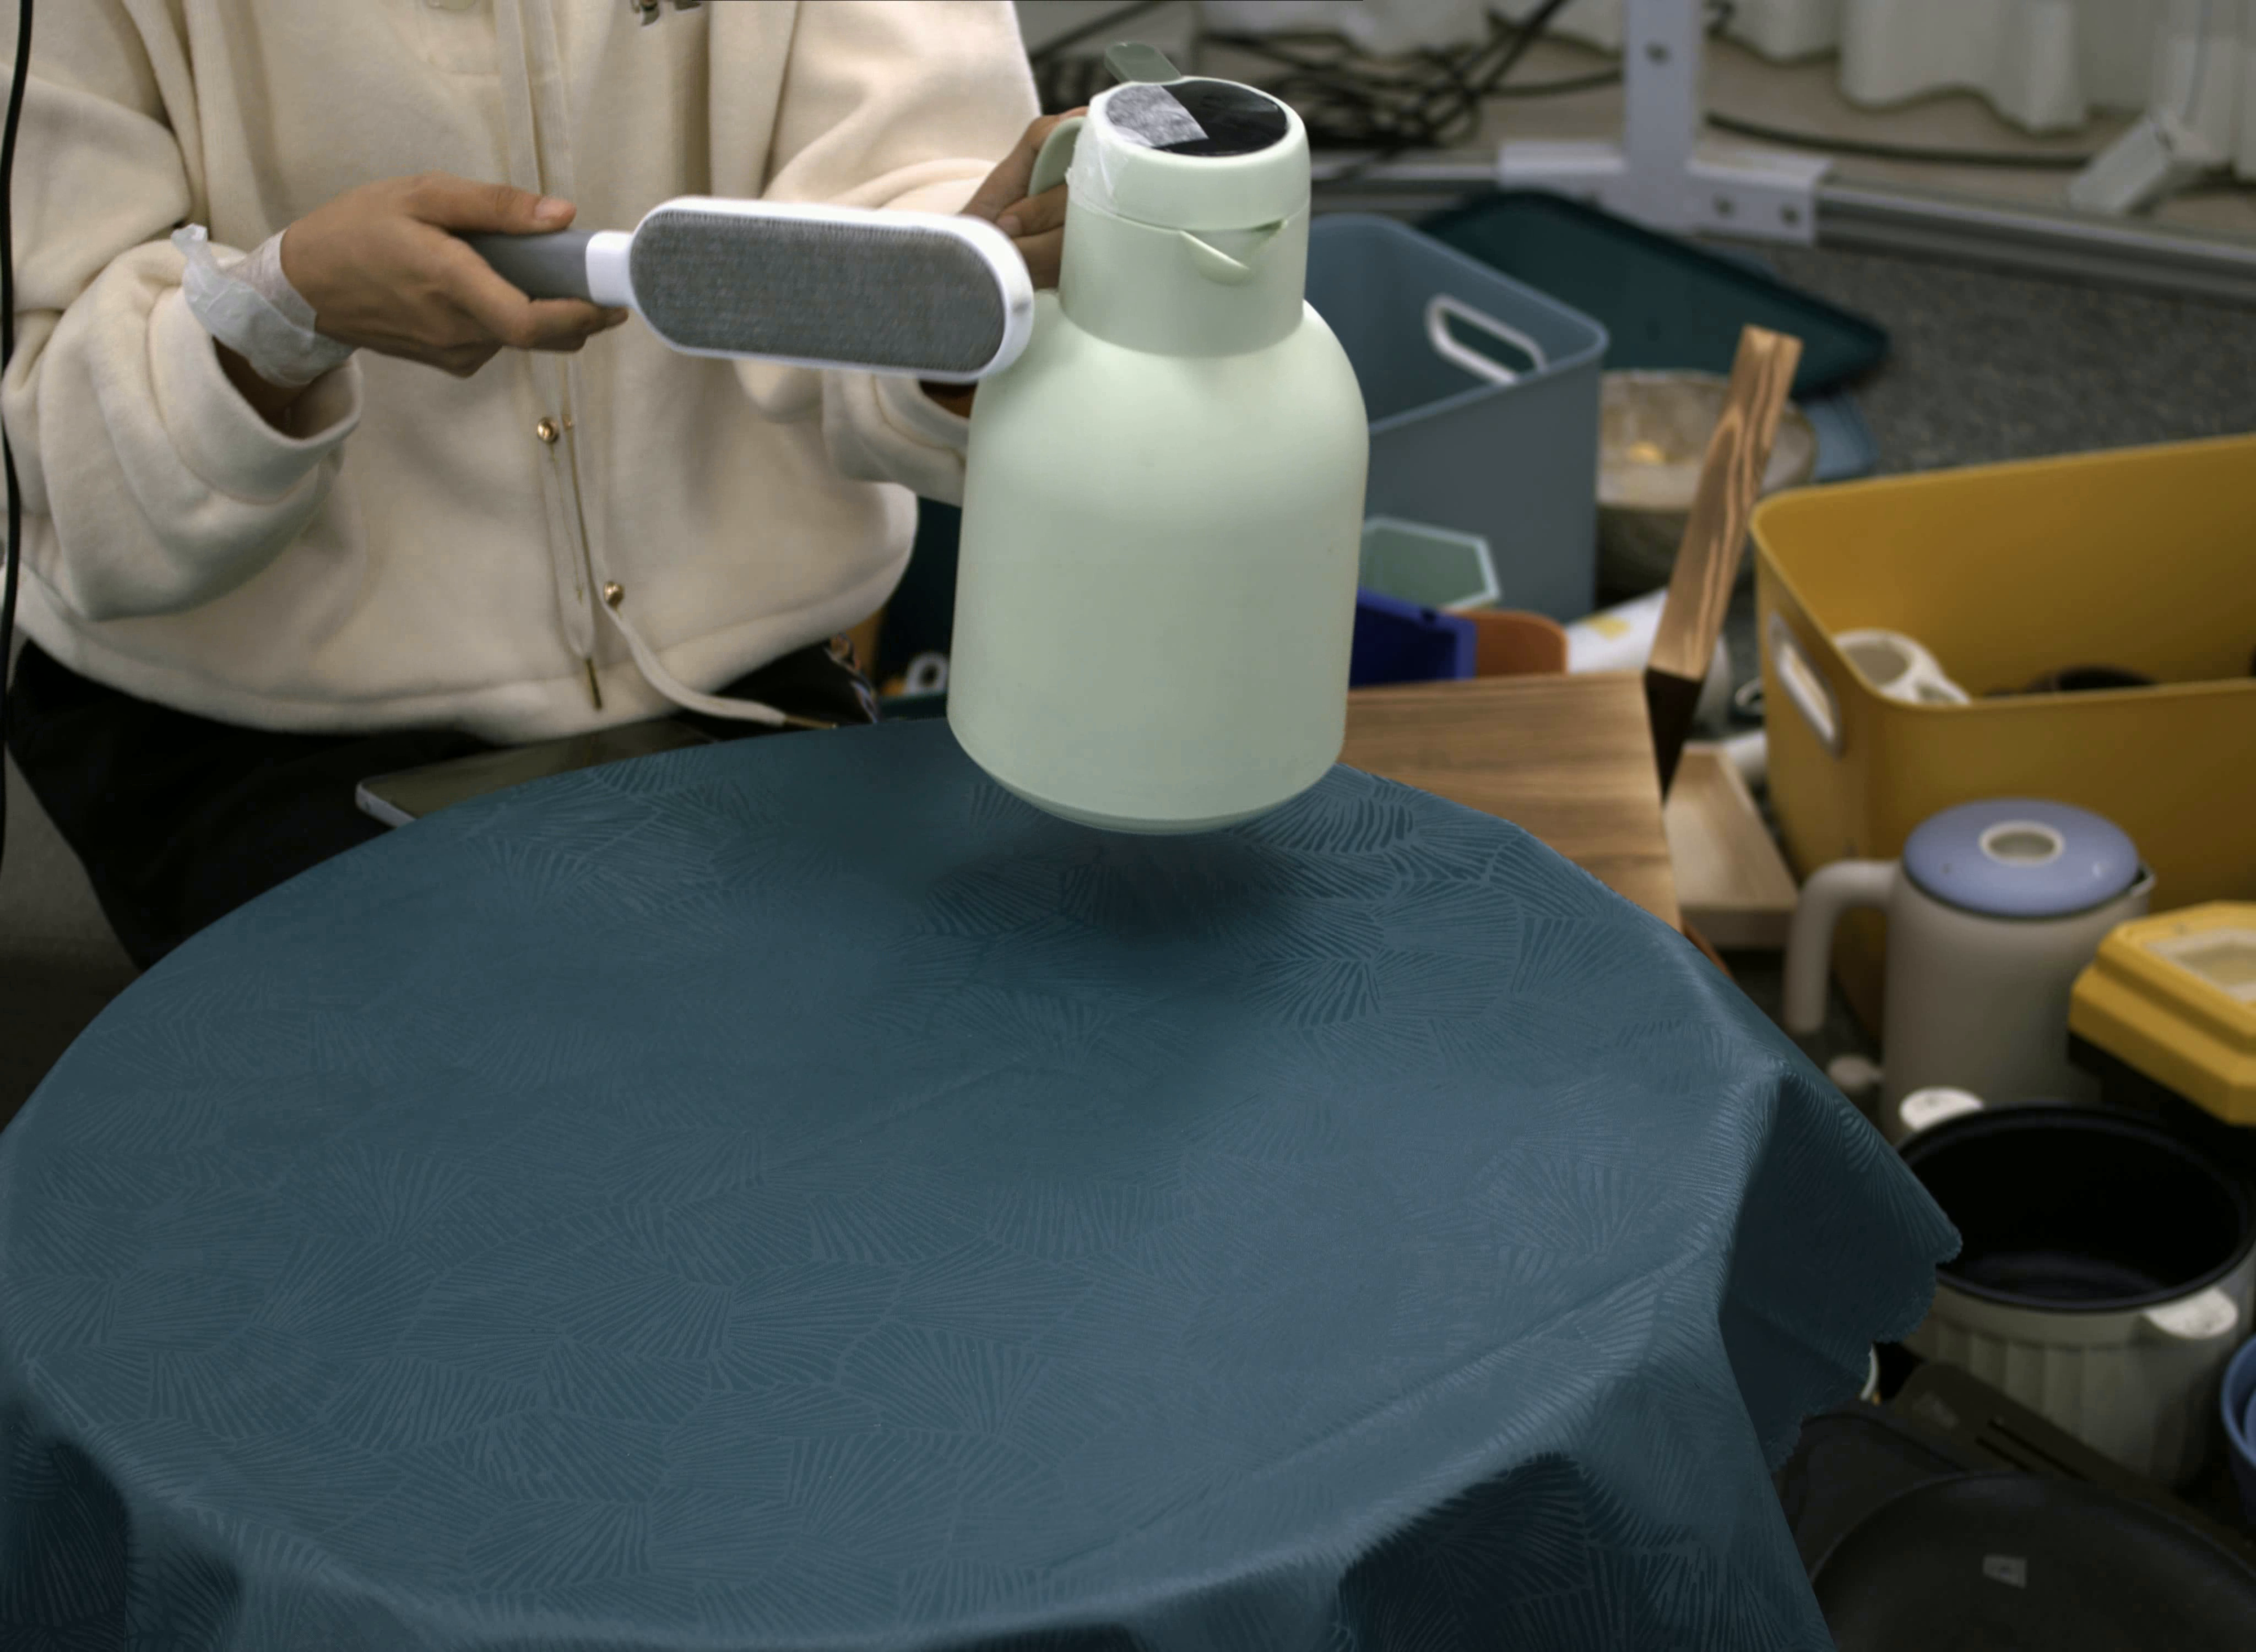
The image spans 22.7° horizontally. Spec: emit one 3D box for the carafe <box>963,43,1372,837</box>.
[{"bbox_3d":[0.010,-0.141,1.997,0.144,0.254,0.188,-9,28,-20],"label":"carafe"}]

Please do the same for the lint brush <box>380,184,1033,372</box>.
[{"bbox_3d":[-0.155,-0.200,2.010,0.307,0.060,0.021,8,22,37],"label":"lint brush"}]
